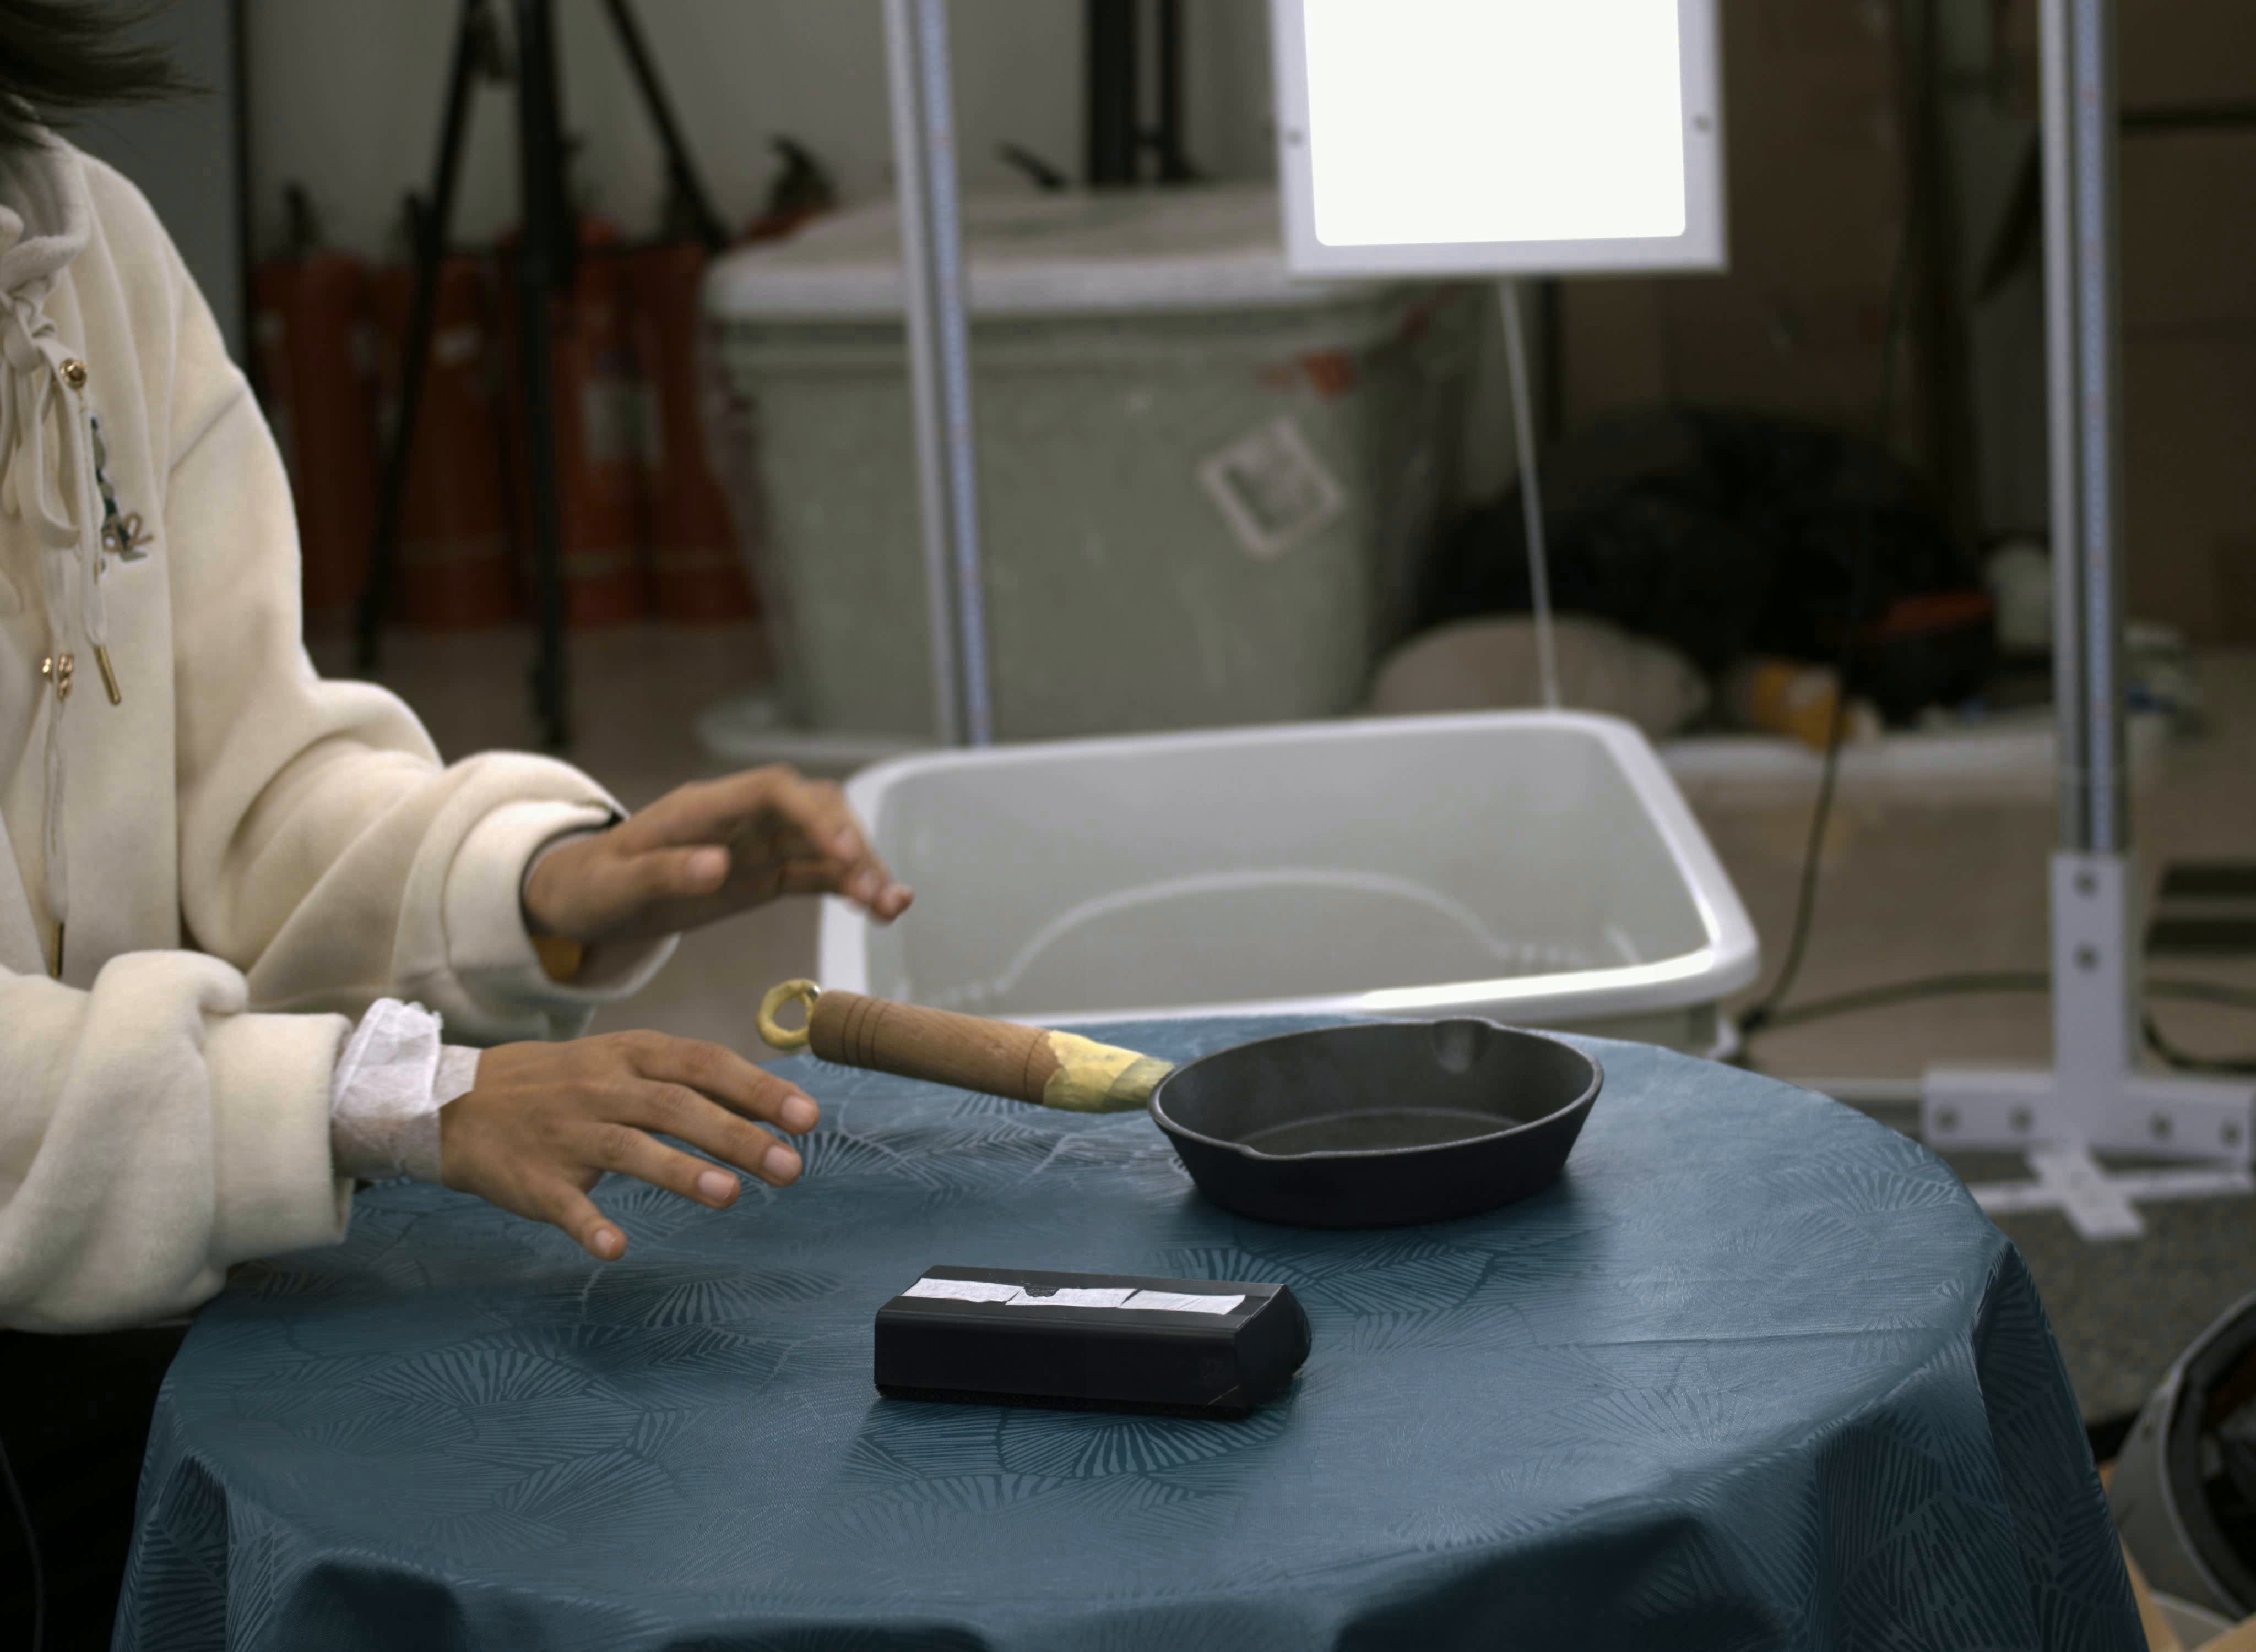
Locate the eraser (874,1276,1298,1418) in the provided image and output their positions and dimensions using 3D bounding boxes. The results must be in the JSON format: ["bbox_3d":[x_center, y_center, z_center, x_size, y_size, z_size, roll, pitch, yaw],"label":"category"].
[{"bbox_3d":[-0.011,0.161,1.708,0.127,0.030,0.052,0,14,25],"label":"eraser"}]

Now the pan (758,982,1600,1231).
[{"bbox_3d":[0.011,0.091,1.932,0.330,0.050,0.165,4,18,31],"label":"pan"}]
